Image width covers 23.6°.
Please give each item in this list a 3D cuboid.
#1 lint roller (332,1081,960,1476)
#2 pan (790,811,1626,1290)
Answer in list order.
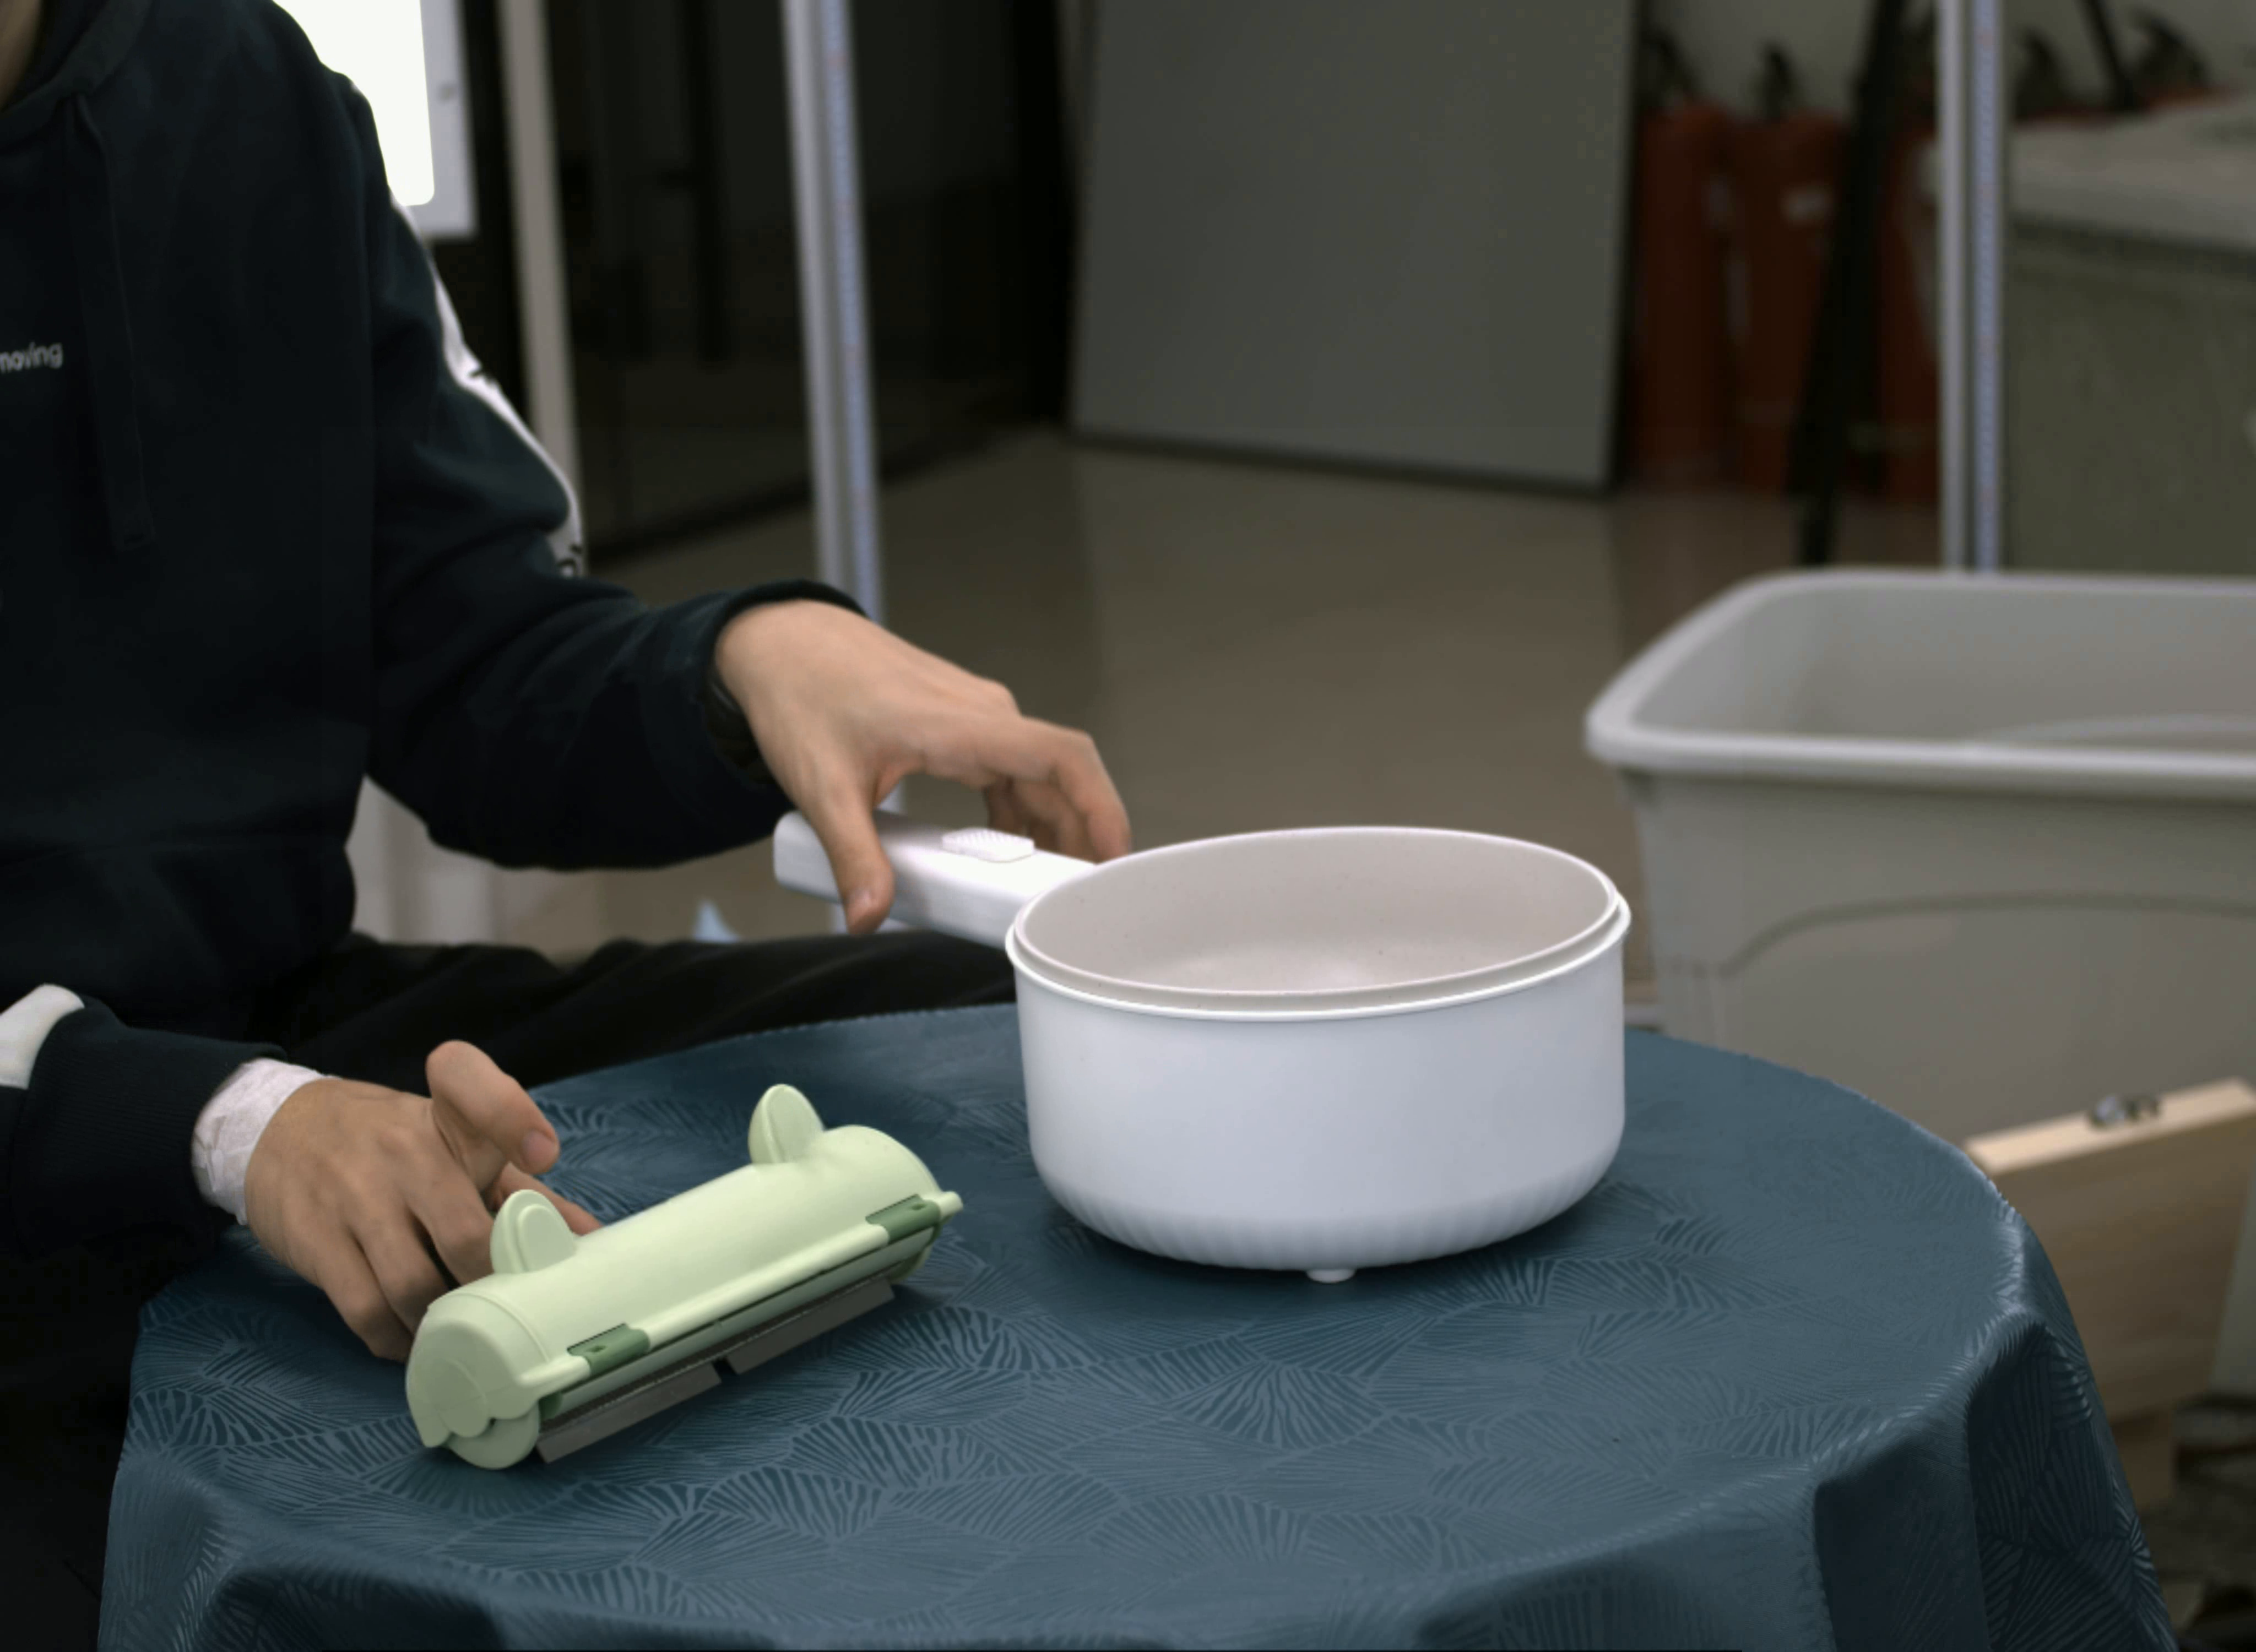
[{"bbox_3d":[-0.177,0.123,1.655,0.184,0.083,0.195,14,22,36],"label":"lint roller"},{"bbox_3d":[0.012,0.066,1.791,0.197,0.103,0.358,-17,18,-39],"label":"pan"}]
